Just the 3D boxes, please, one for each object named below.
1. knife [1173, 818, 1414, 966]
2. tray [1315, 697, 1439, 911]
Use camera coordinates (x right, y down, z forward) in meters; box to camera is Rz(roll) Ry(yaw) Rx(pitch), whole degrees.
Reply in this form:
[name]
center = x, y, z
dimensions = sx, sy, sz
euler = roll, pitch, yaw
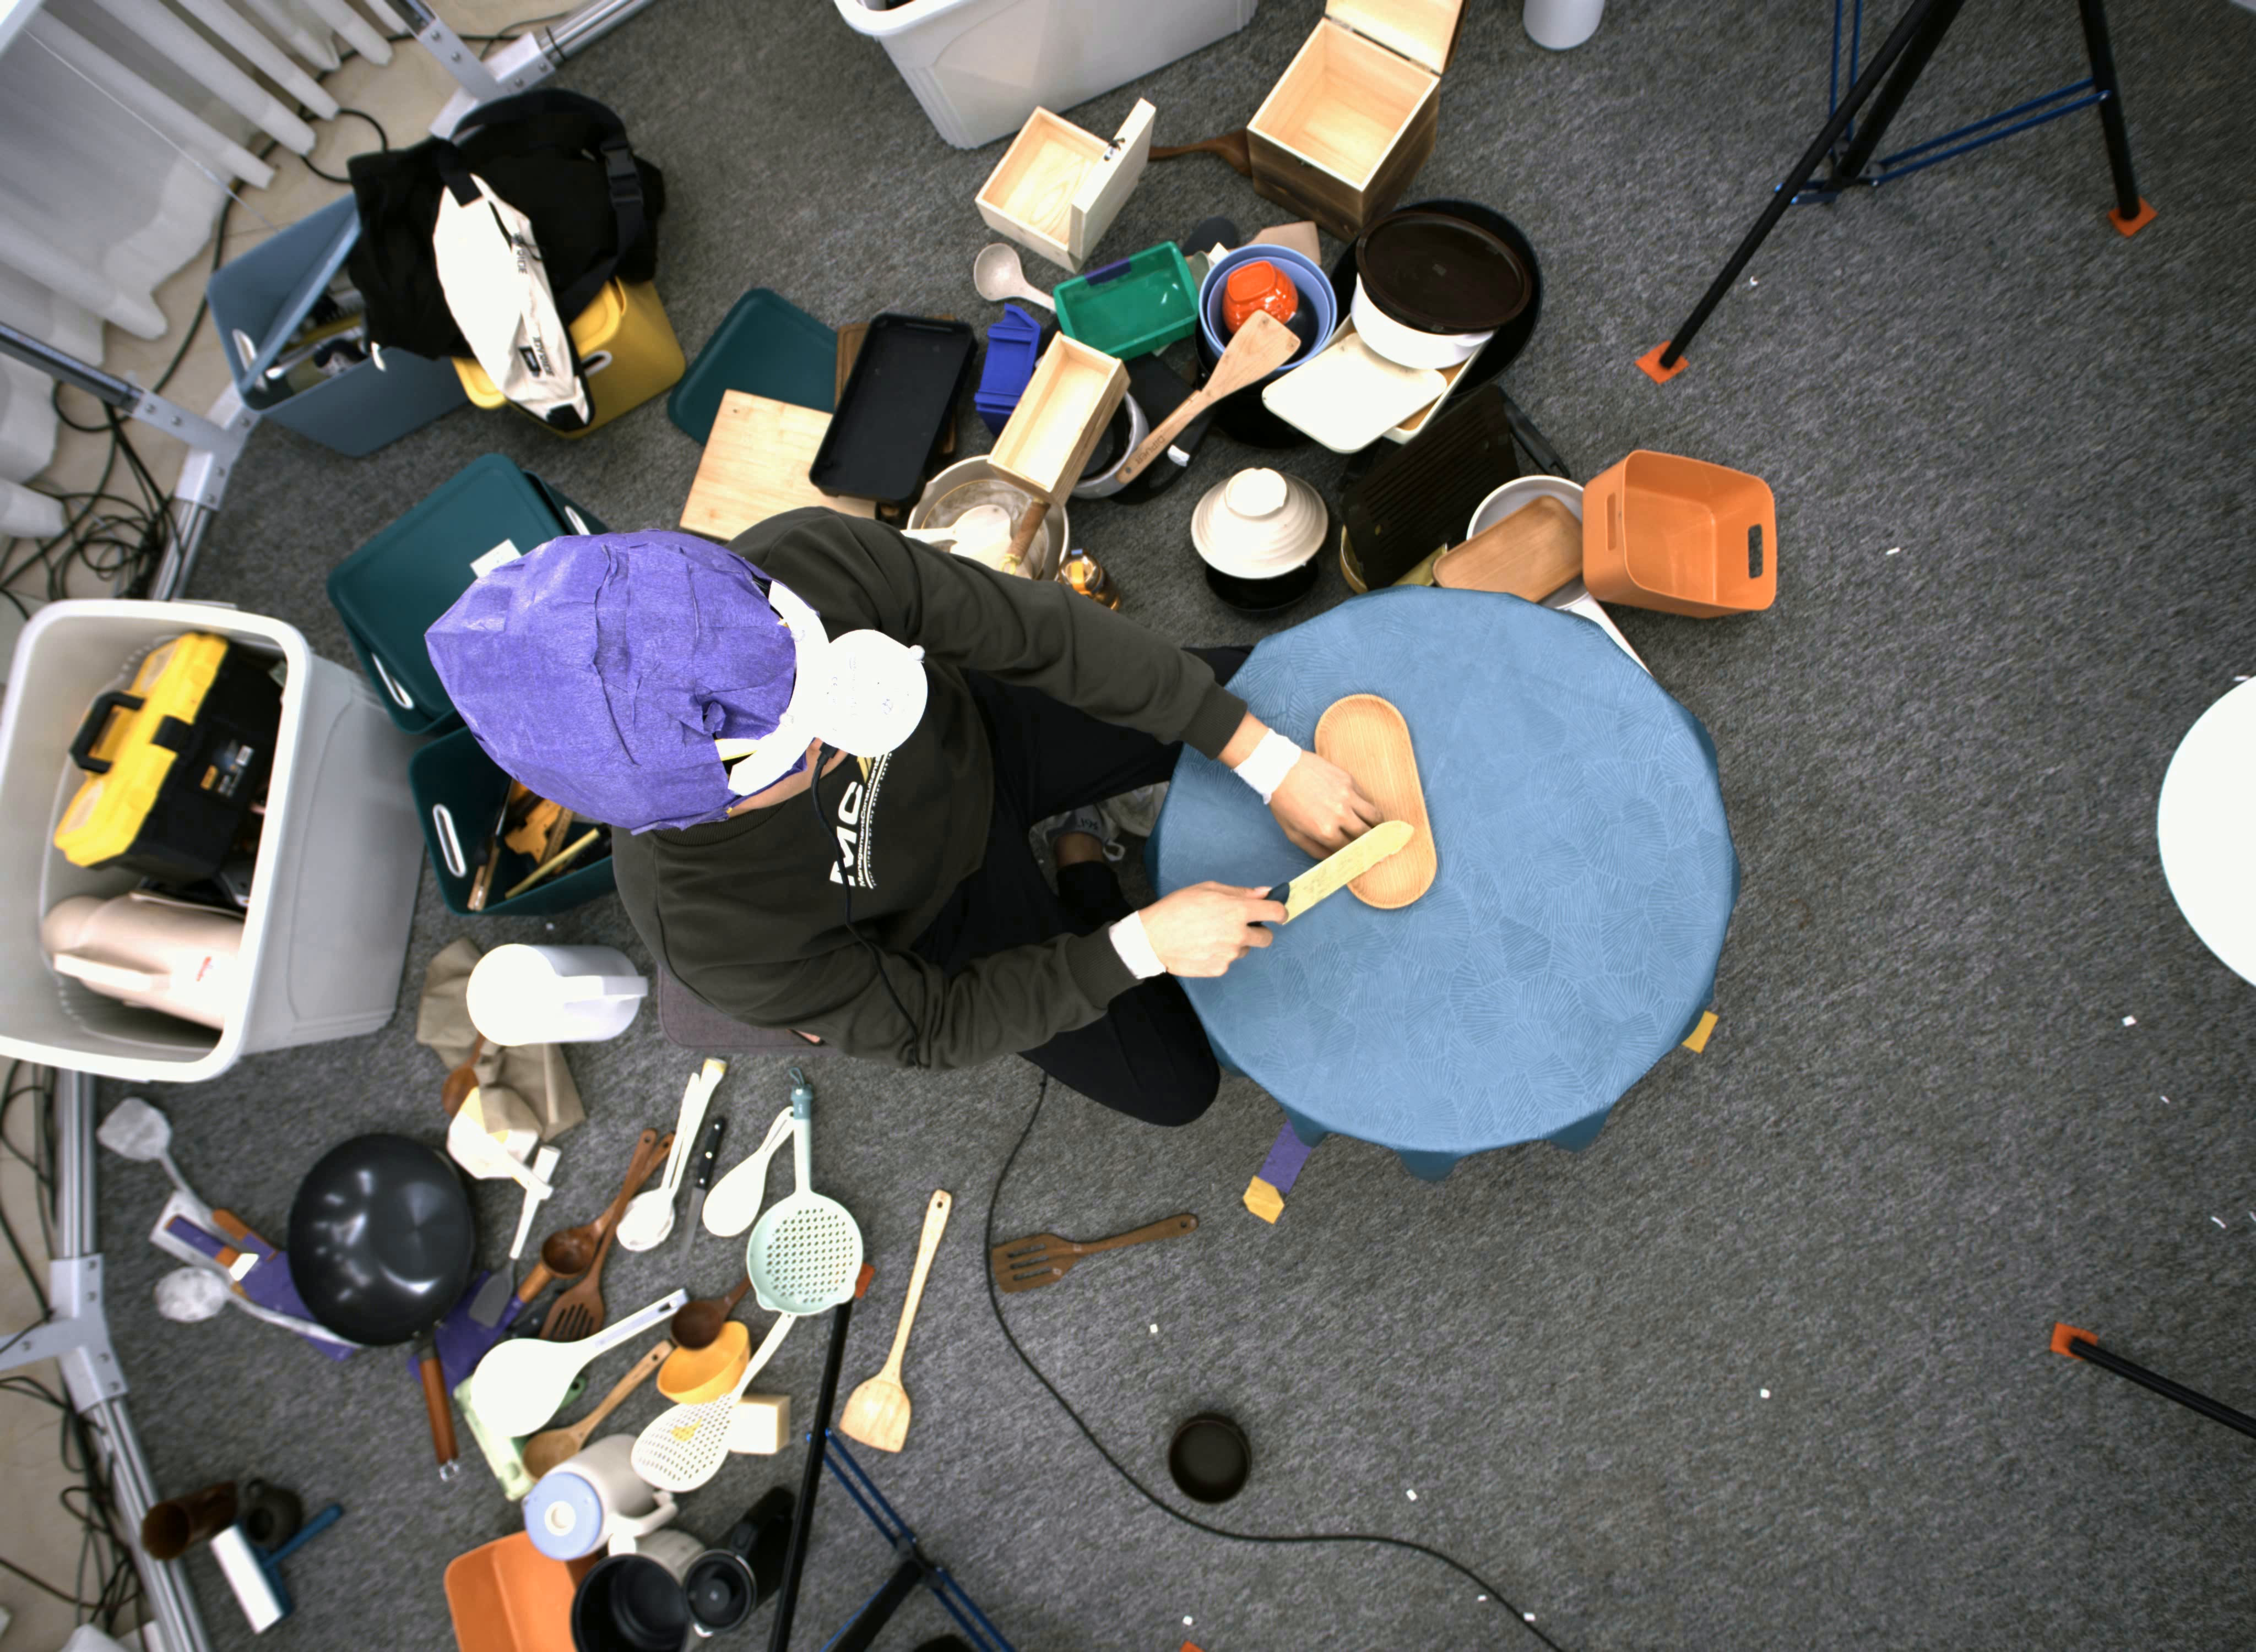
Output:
[knife]
center = 0.172, 0.067, 1.402
dimensions = 0.288, 0.083, 0.027
euler = -29, 57, -9
[tray]
center = 0.263, -0.025, 1.459
dimensions = 0.102, 0.020, 0.230
euler = -13, 86, 11
